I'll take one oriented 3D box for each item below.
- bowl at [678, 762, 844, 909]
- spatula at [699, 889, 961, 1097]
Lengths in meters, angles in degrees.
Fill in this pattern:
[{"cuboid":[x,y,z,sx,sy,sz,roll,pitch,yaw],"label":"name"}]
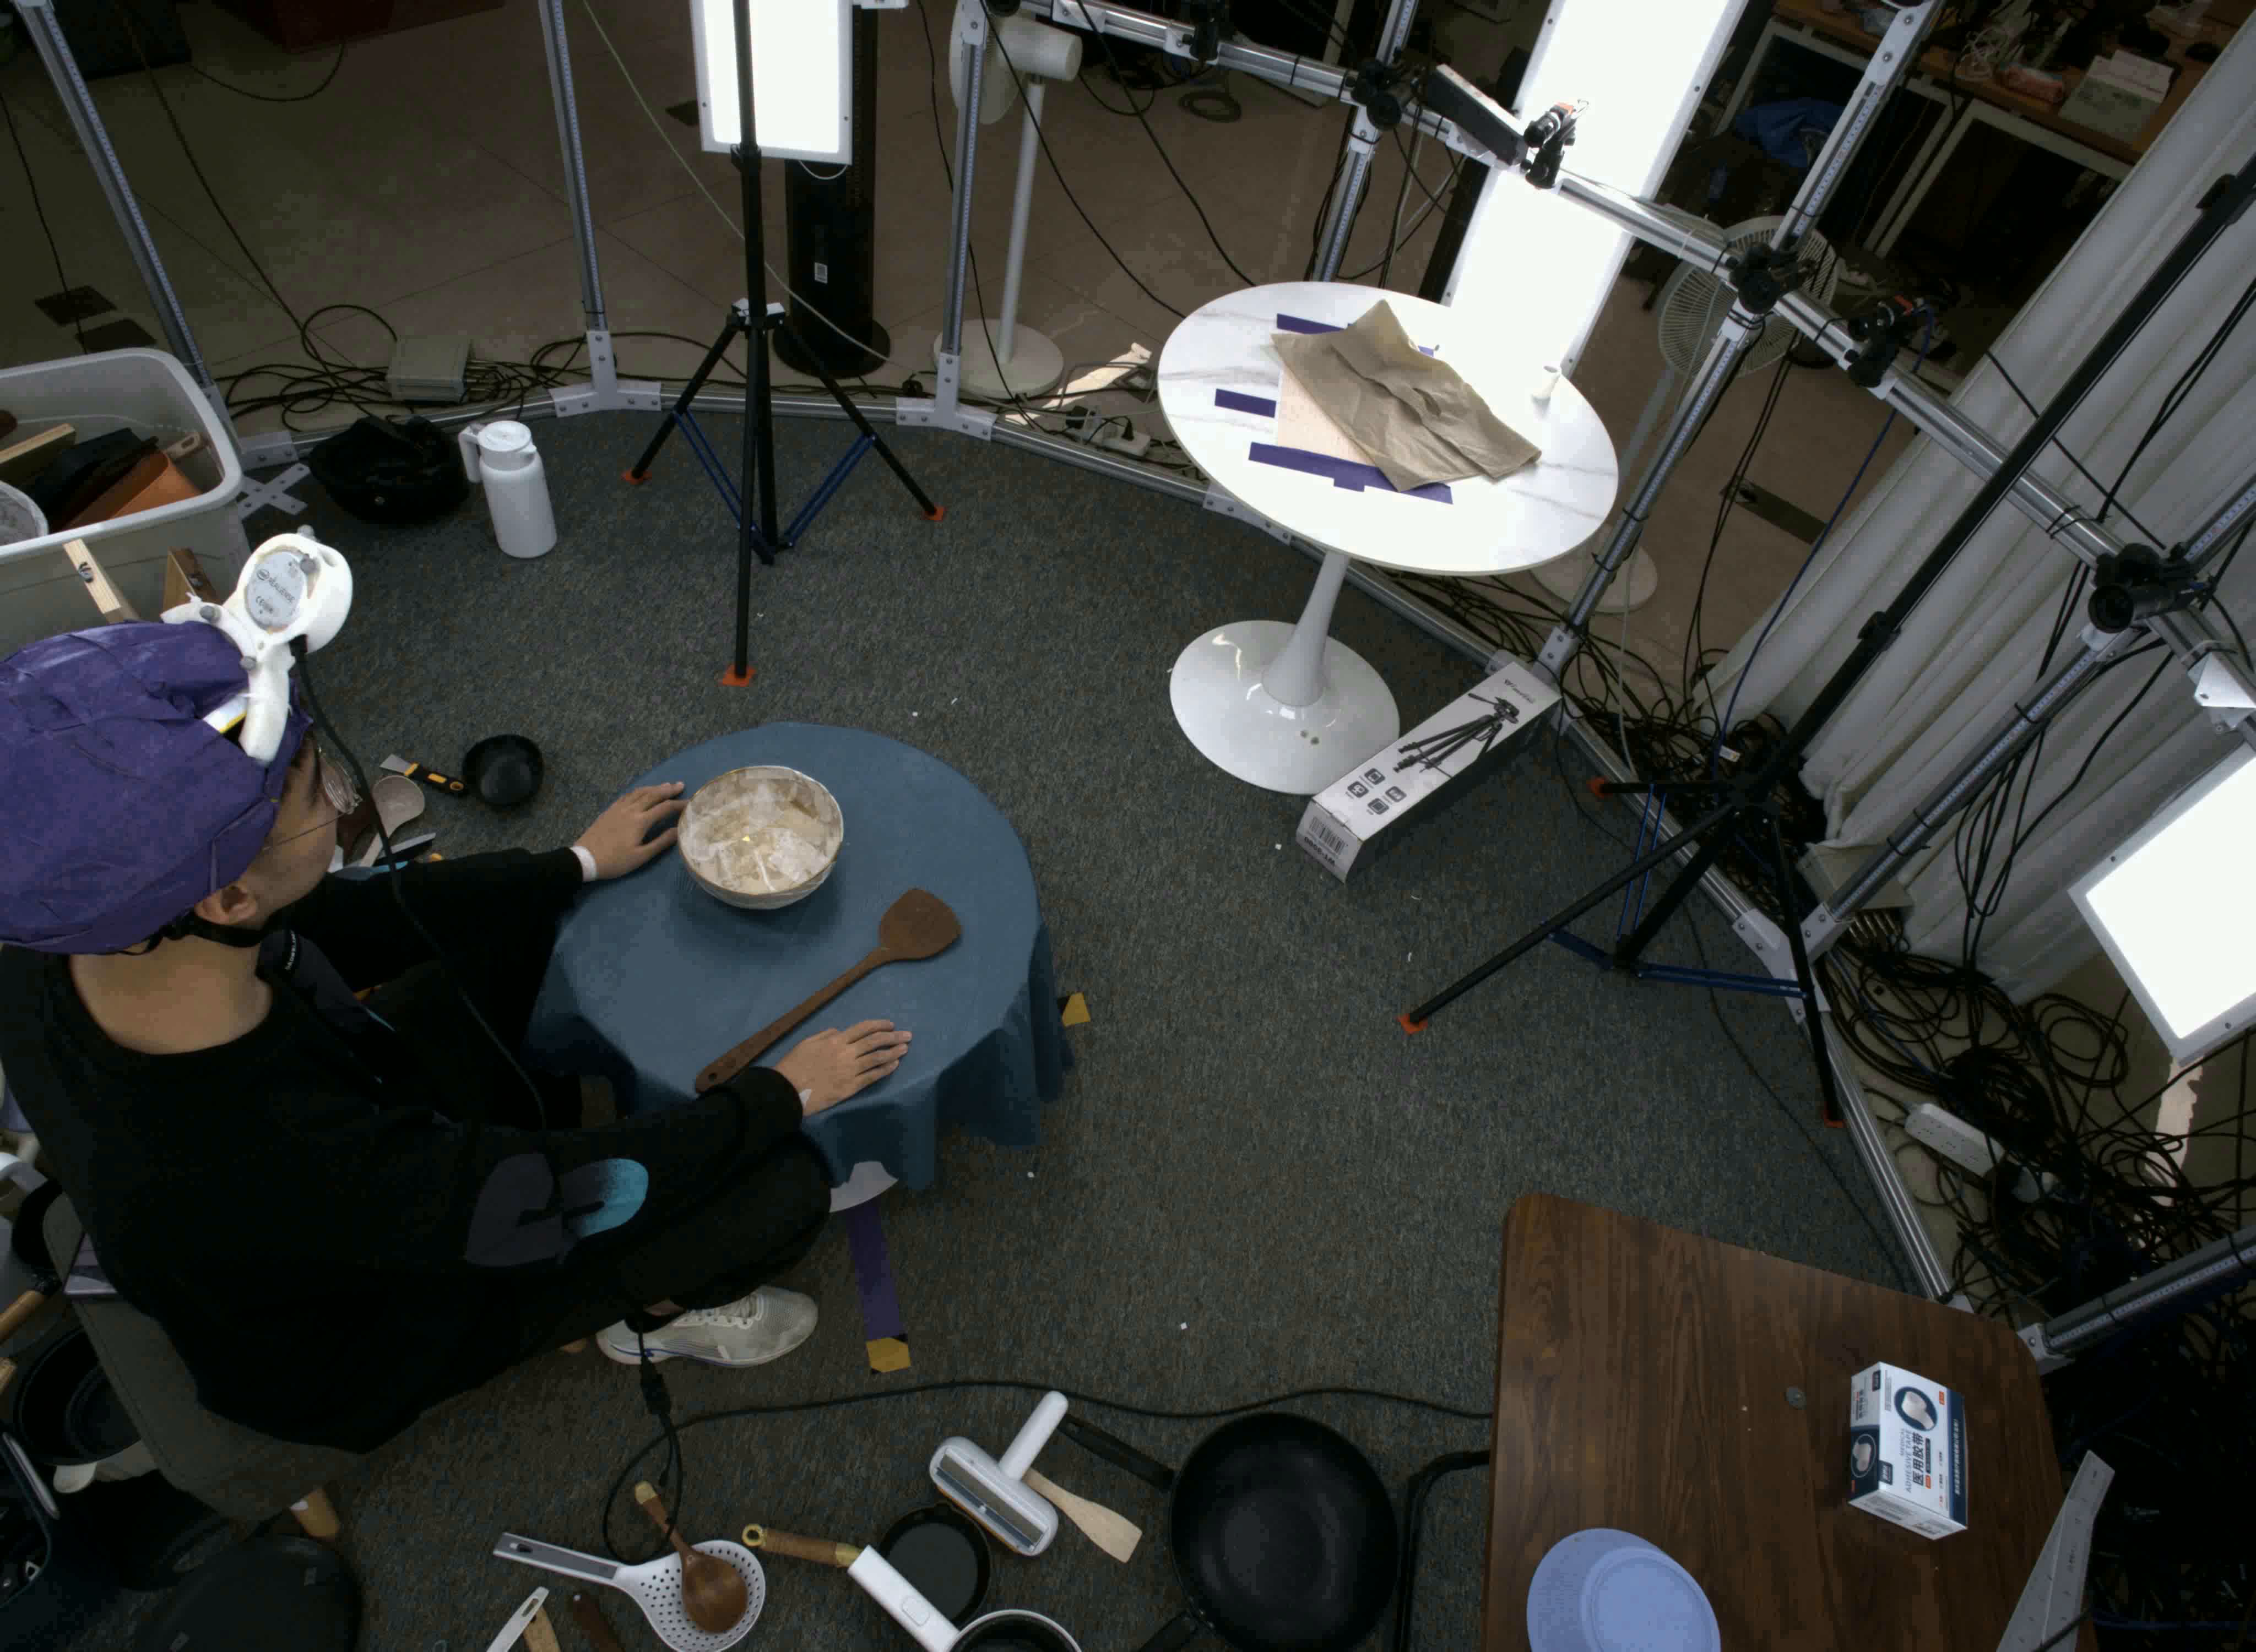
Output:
[{"cuboid":[-0.465,0.027,1.639,0.214,0.096,0.211,8,54,-9],"label":"bowl"},{"cuboid":[-0.364,0.202,1.585,0.094,0.016,0.386,40,55,17],"label":"spatula"}]
